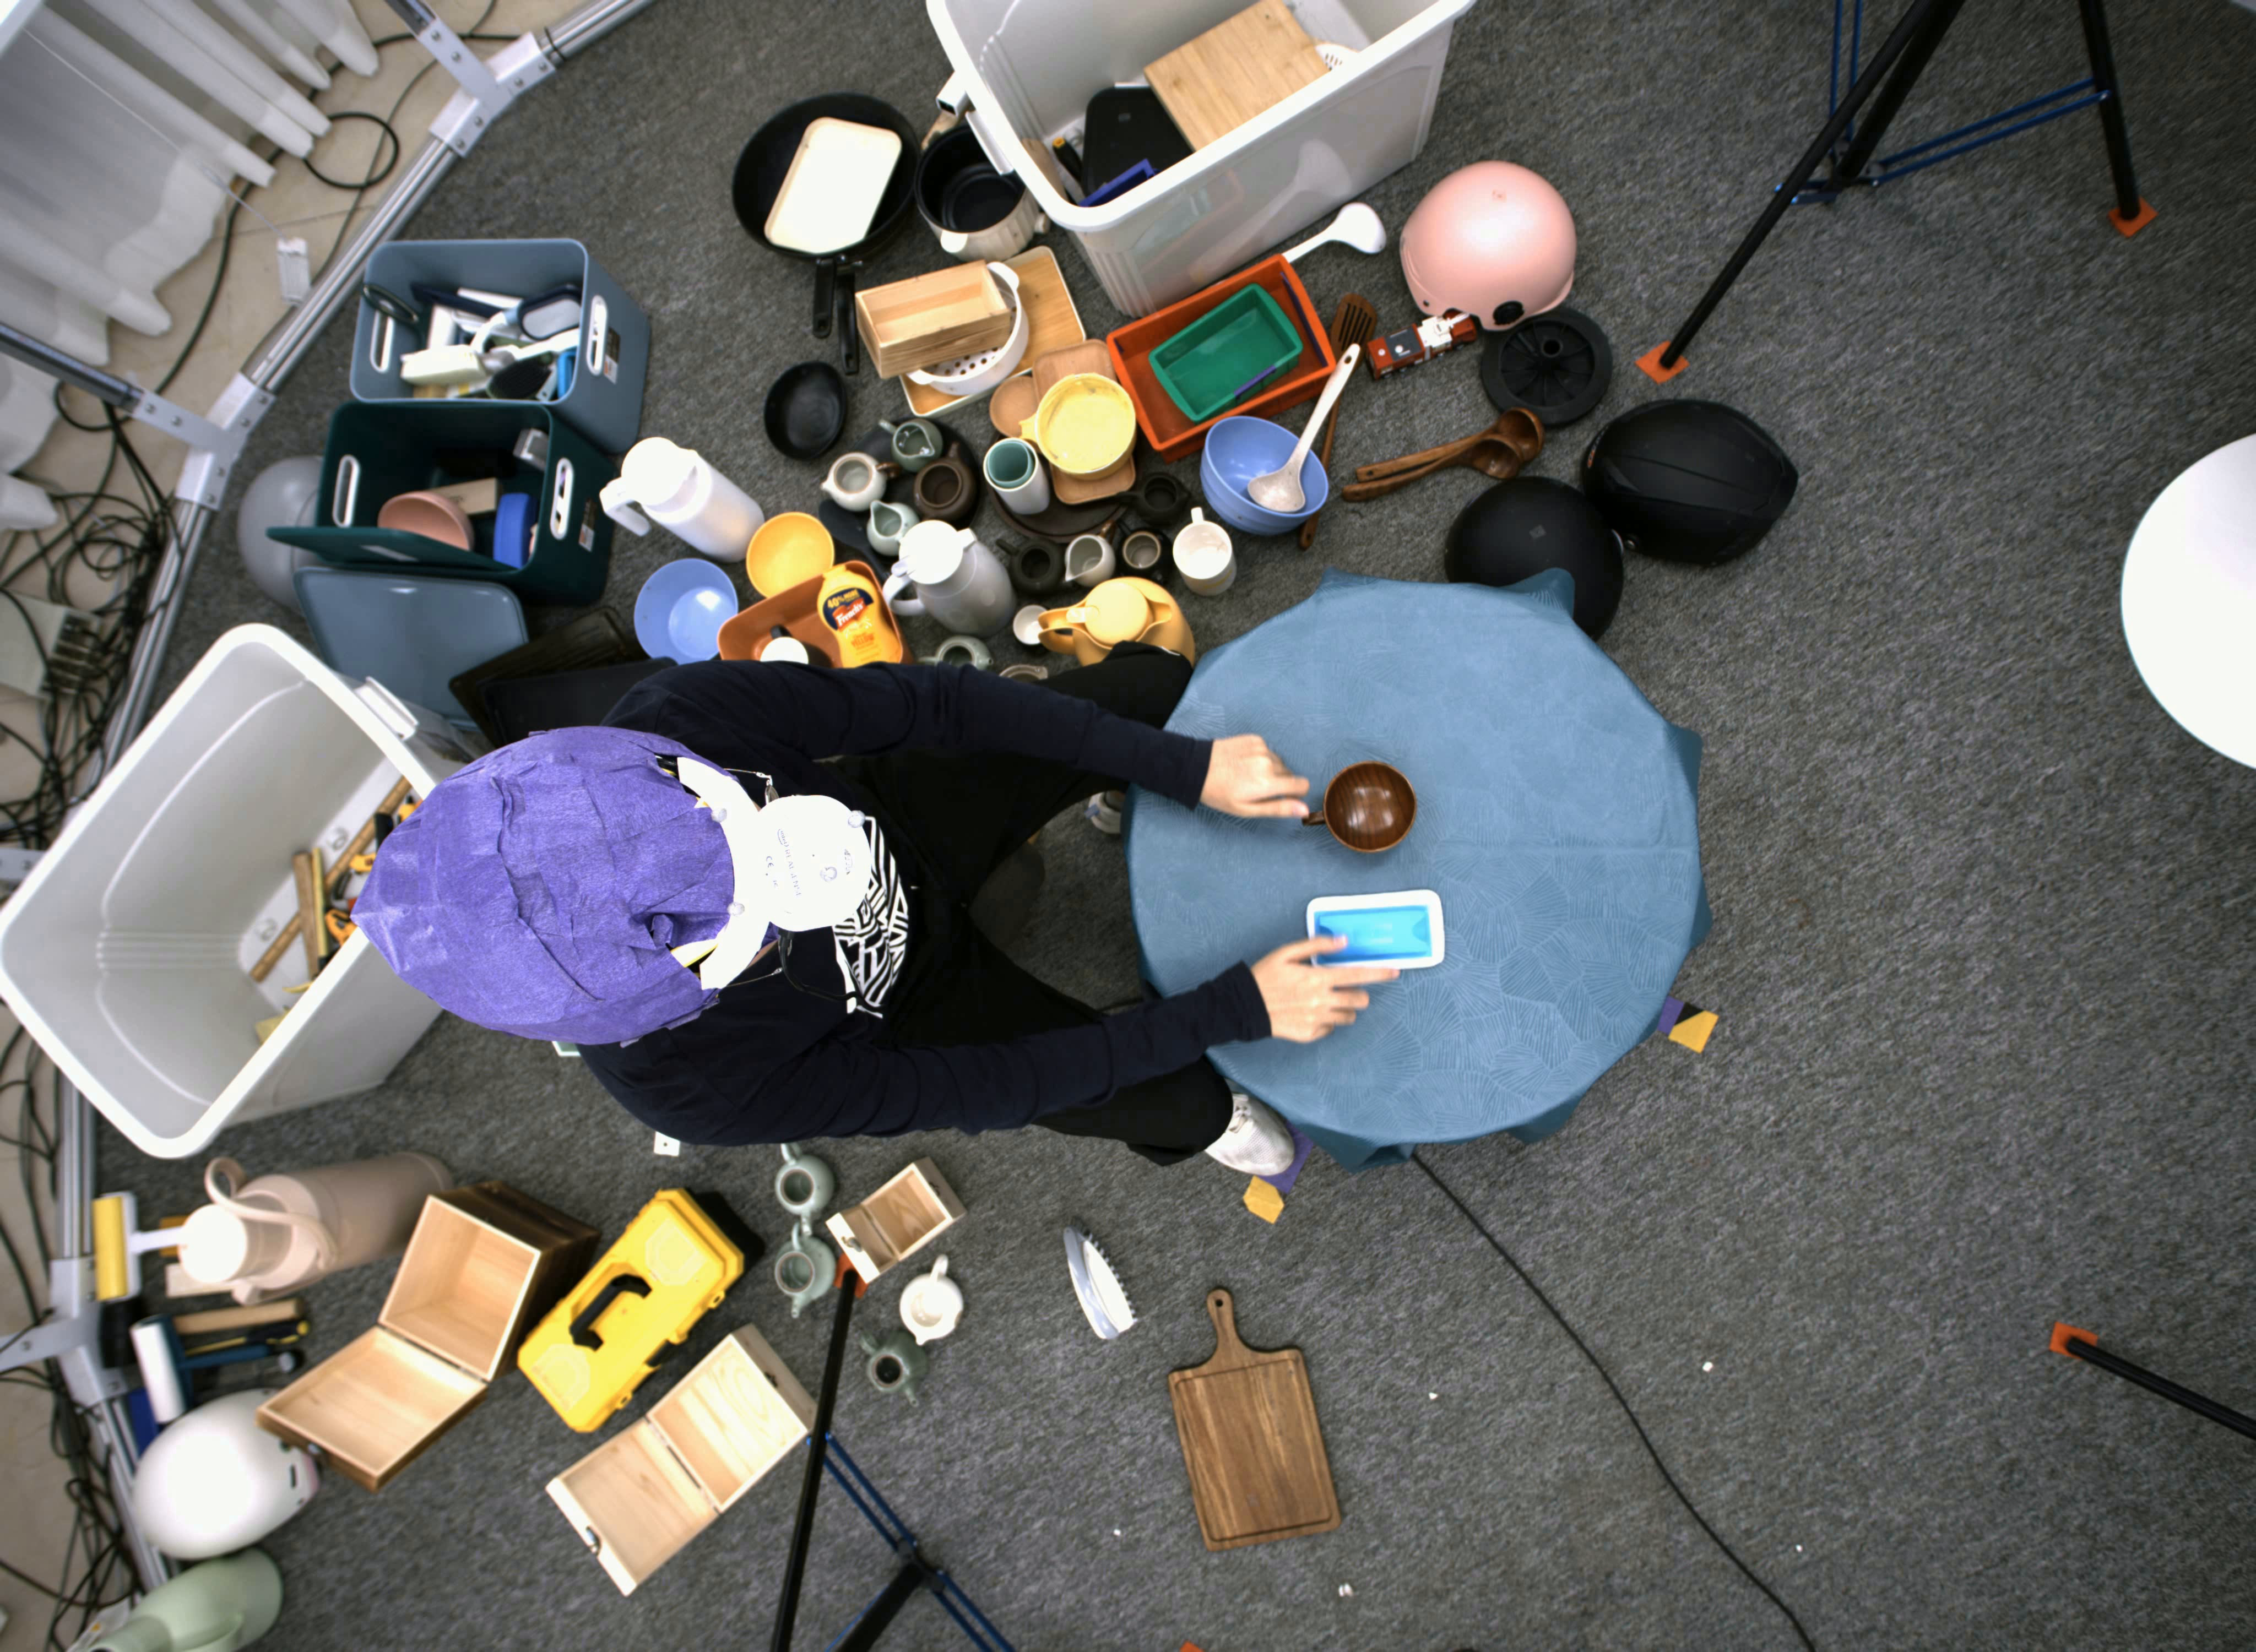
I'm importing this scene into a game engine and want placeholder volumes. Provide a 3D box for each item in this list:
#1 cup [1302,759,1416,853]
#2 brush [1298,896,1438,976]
[{"bbox_3d":[0.240,-0.019,1.436,0.120,0.067,0.096,-13,88,12],"label":"cup"},{"bbox_3d":[0.248,0.110,1.430,0.144,0.056,0.083,-2,83,8],"label":"brush"}]
